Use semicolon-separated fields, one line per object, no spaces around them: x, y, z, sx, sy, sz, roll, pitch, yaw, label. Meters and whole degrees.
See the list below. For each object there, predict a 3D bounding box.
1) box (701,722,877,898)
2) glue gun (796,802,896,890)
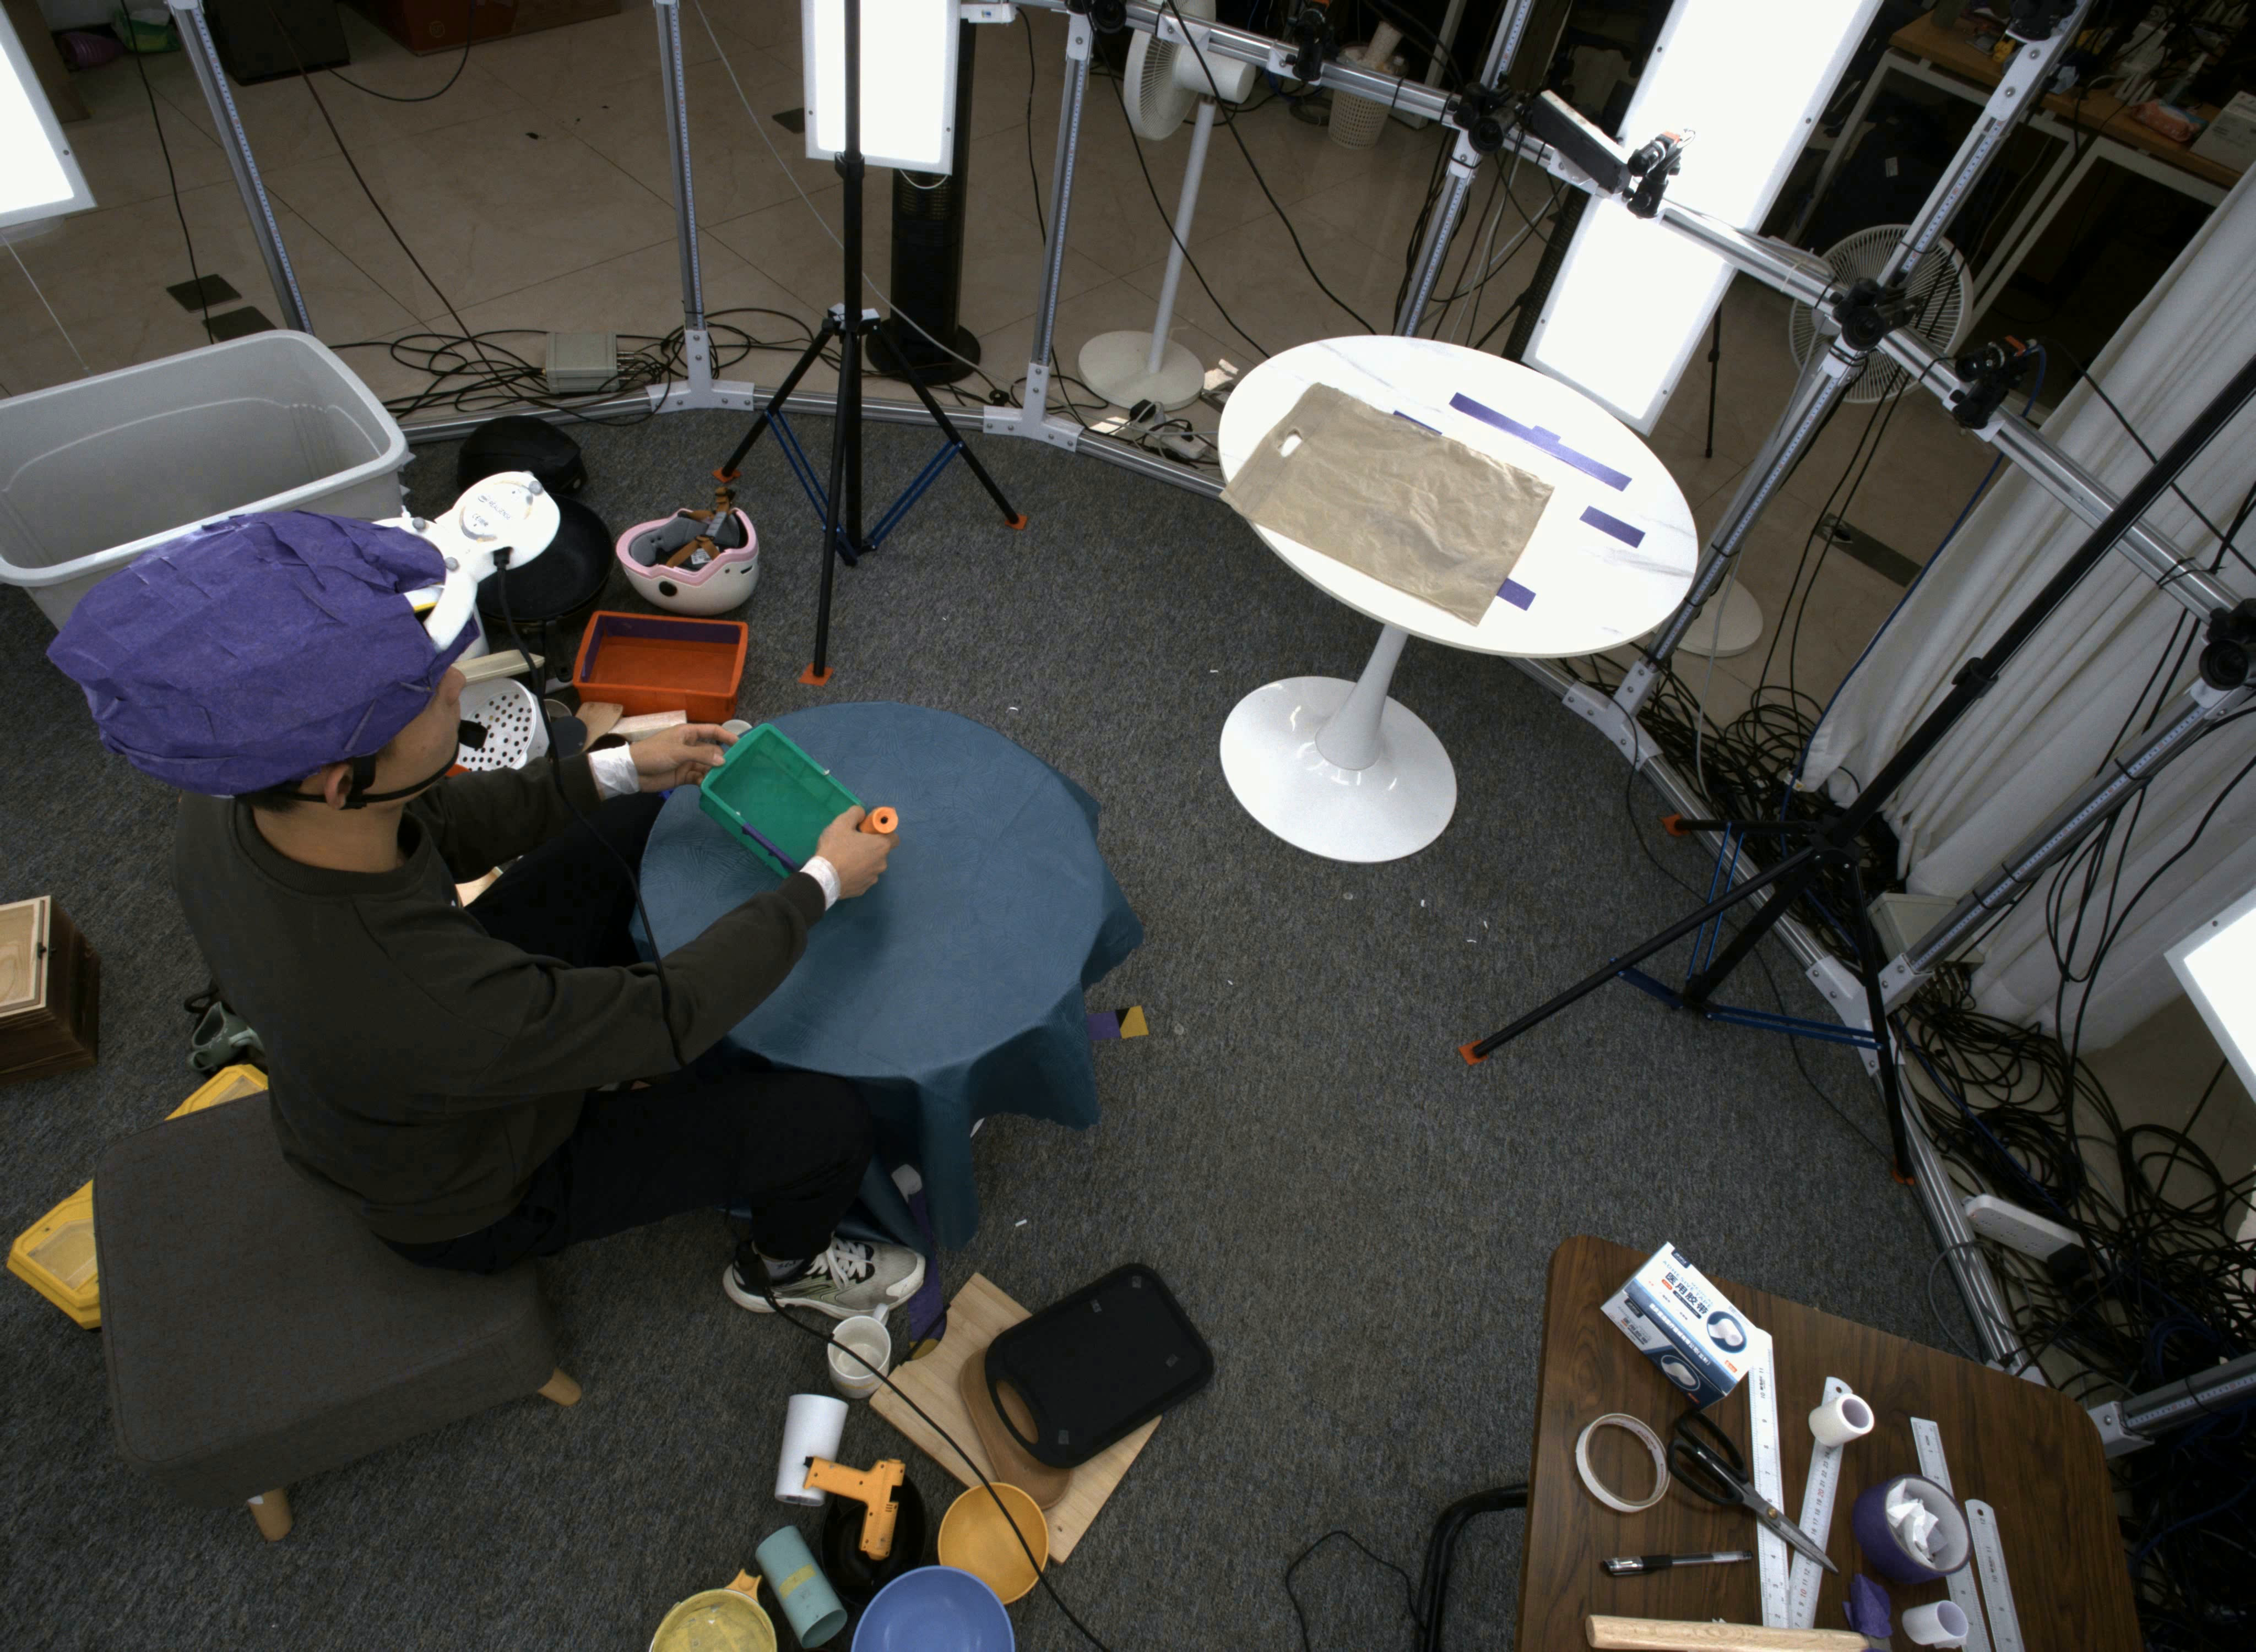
-0.432;-0.016;1.652;0.213;0.065;0.138;41;53;-12;box
-0.340;0.016;1.600;0.140;0.116;0.041;-42;97;-30;glue gun
